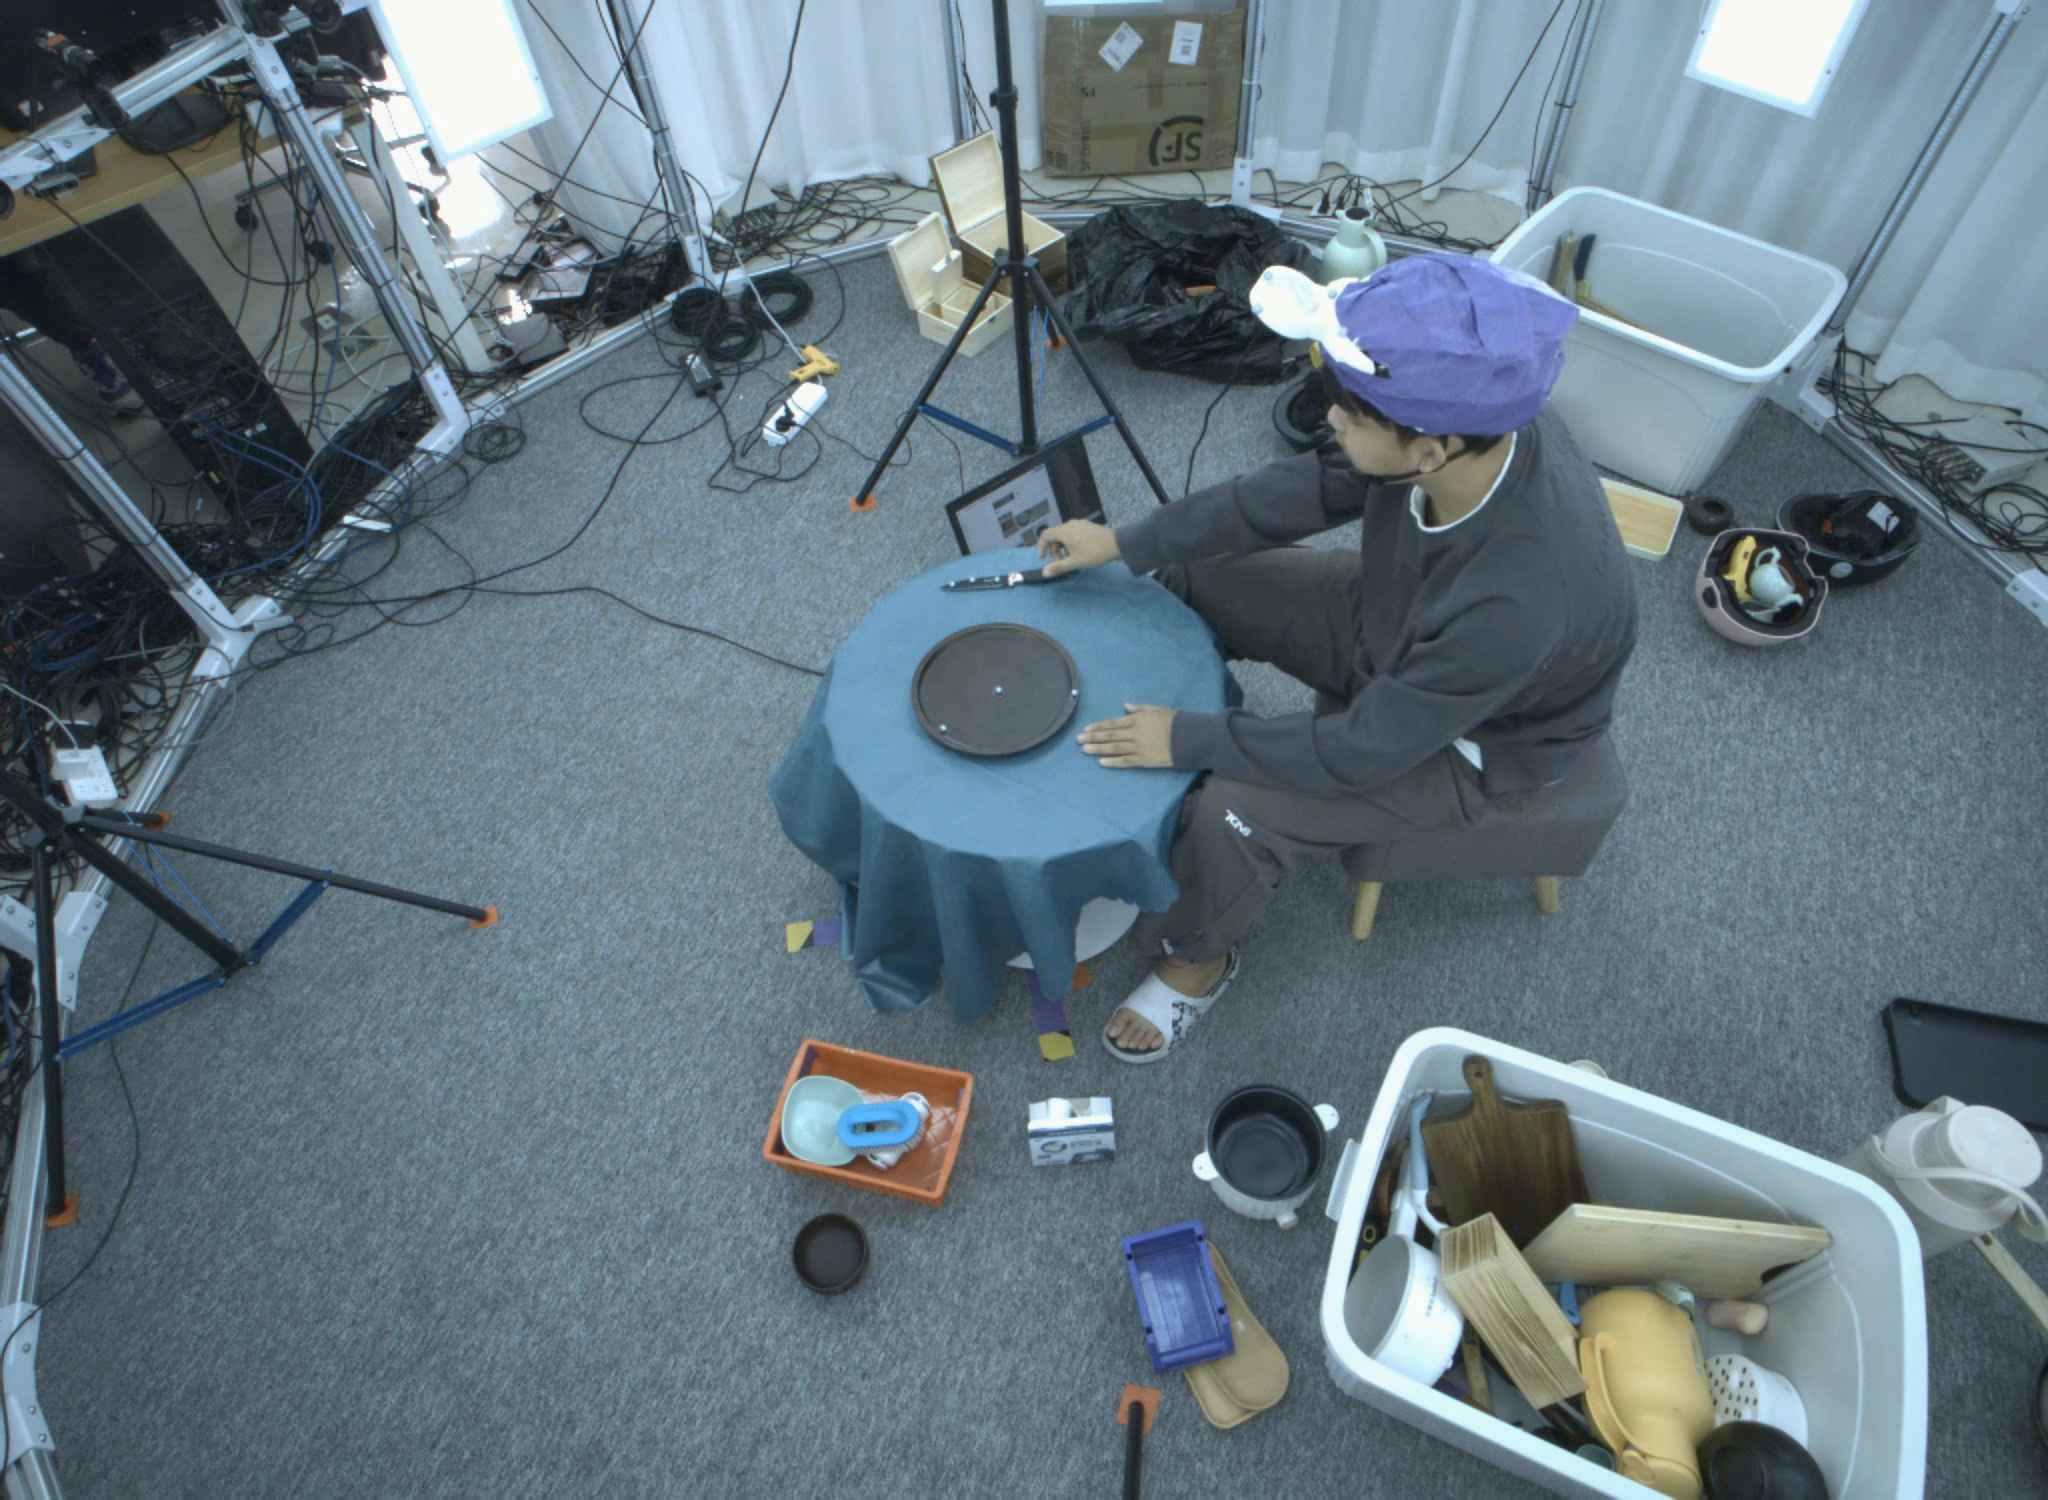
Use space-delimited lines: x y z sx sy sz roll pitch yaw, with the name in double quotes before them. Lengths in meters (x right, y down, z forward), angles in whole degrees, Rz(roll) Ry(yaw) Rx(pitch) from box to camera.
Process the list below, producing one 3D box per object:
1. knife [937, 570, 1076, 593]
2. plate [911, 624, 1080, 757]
"knife" -0.029 -0.271 1.972 0.226 0.017 0.026 -6 58 -3
"plate" -0.043 -0.091 1.839 0.255 0.029 0.252 1 54 0
